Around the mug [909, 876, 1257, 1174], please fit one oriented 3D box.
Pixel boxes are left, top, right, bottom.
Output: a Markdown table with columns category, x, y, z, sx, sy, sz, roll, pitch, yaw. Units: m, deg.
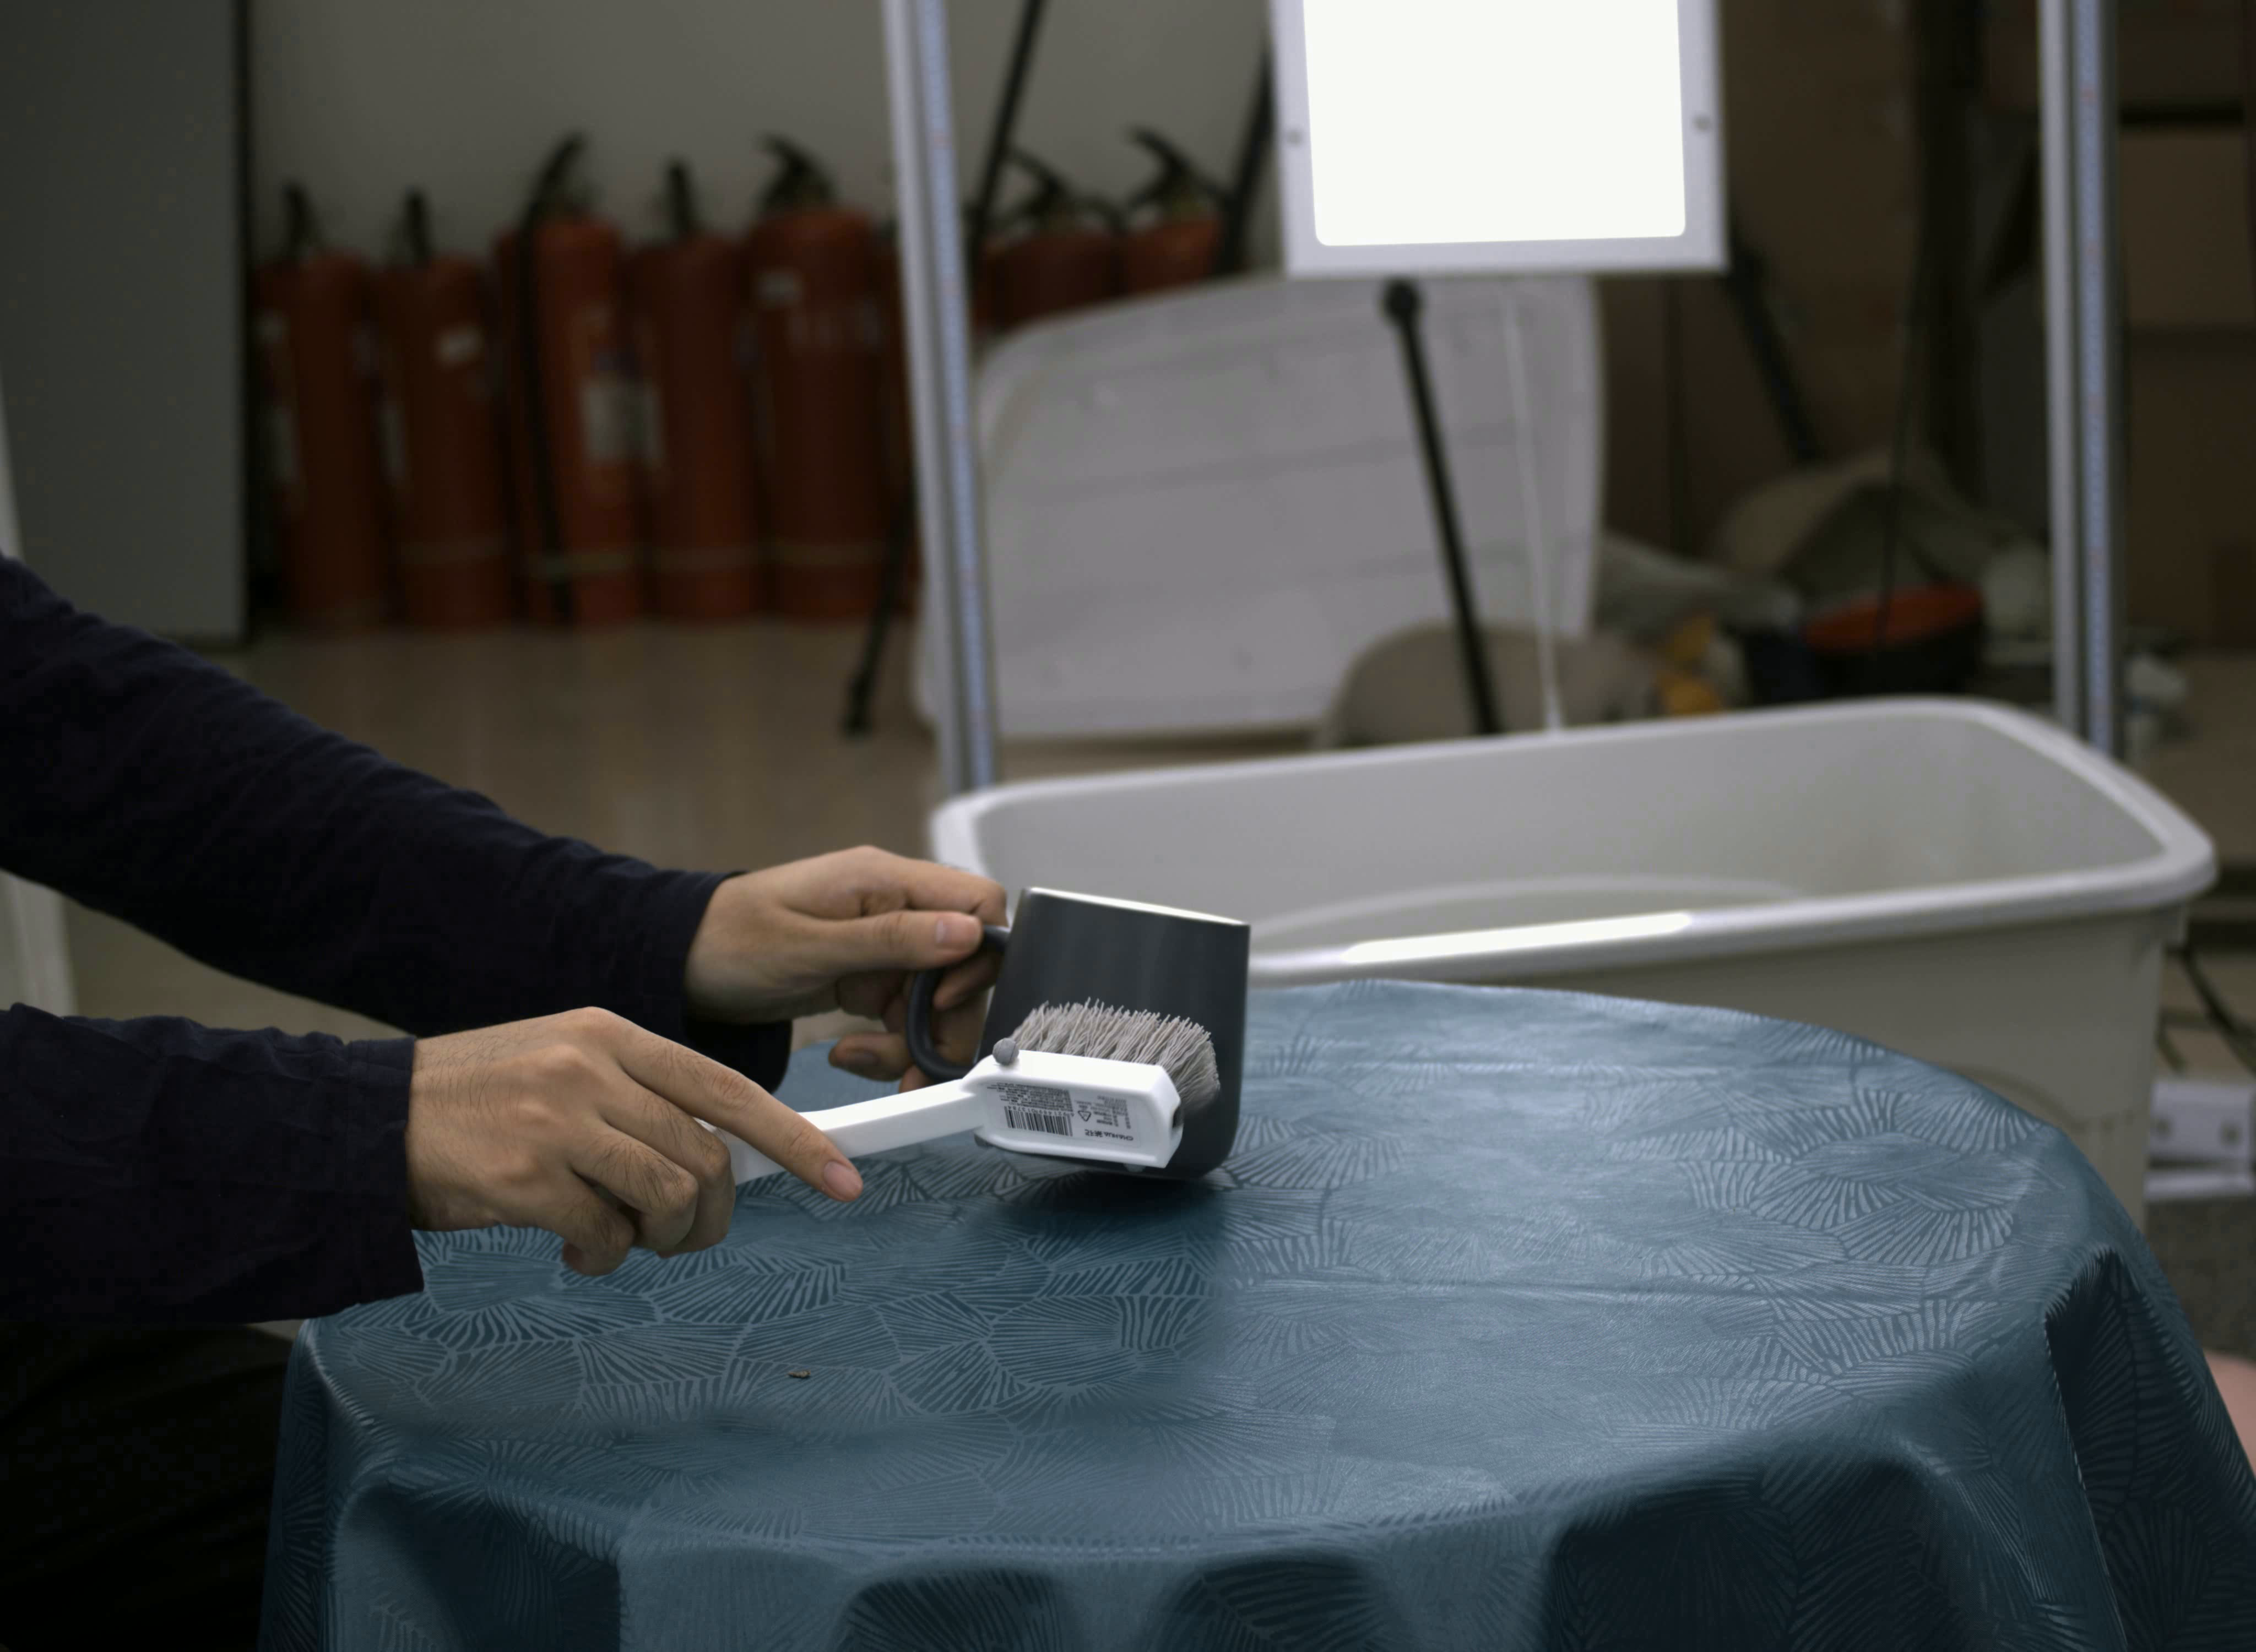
| category | x | y | z | sx | sy | sz | roll | pitch | yaw |
| --- | --- | --- | --- | --- | --- | --- | --- | --- | --- |
| mug | -0.017 | 0.066 | 1.904 | 0.125 | 0.090 | 0.092 | 11 | -2 | 23 |

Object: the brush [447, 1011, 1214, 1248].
| category | x | y | z | sx | sy | sz | roll | pitch | yaw |
| --- | --- | --- | --- | --- | --- | --- | --- | --- | --- |
| brush | -0.093 | 0.094 | 1.722 | 0.245 | 0.034 | 0.050 | -9 | 29 | 13 |
